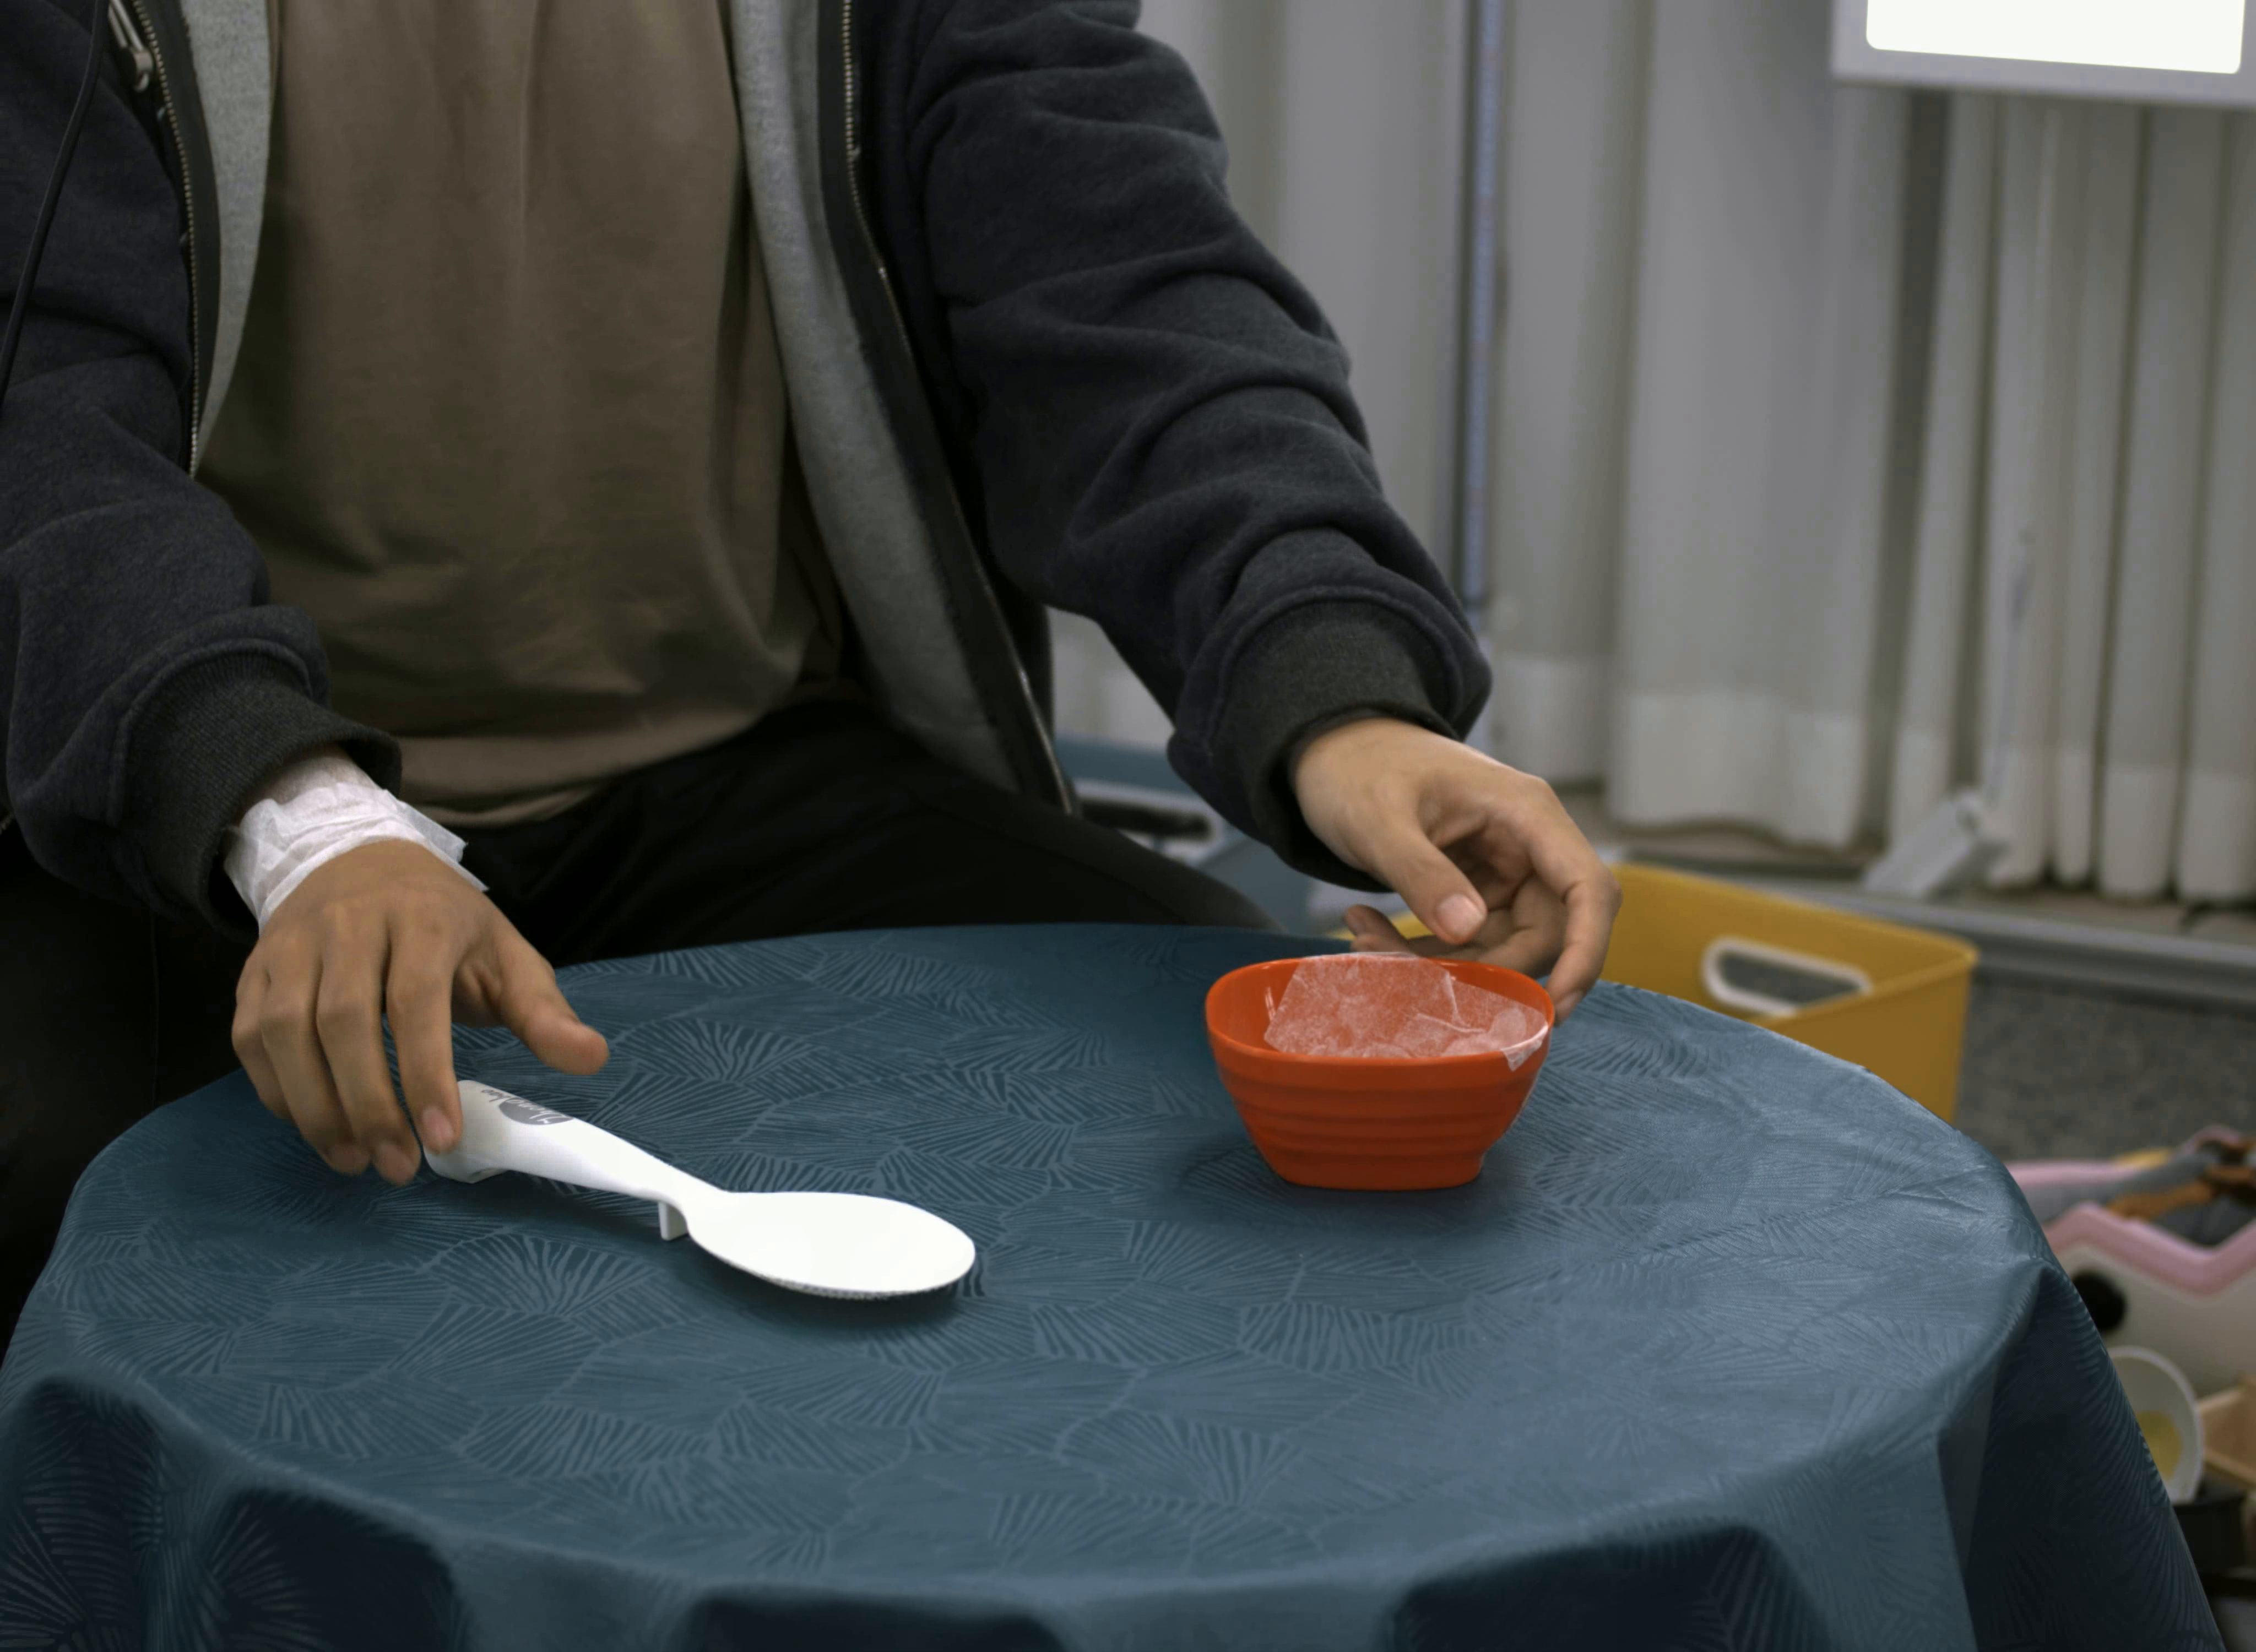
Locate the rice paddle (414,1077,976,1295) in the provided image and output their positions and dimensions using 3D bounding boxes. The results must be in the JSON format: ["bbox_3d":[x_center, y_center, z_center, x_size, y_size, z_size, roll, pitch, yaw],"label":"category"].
[{"bbox_3d":[-0.130,0.109,1.572,0.202,0.029,0.069,12,21,36],"label":"rice paddle"}]

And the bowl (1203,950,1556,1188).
[{"bbox_3d":[0.078,0.078,1.649,0.118,0.052,0.118,1,16,0],"label":"bowl"}]
